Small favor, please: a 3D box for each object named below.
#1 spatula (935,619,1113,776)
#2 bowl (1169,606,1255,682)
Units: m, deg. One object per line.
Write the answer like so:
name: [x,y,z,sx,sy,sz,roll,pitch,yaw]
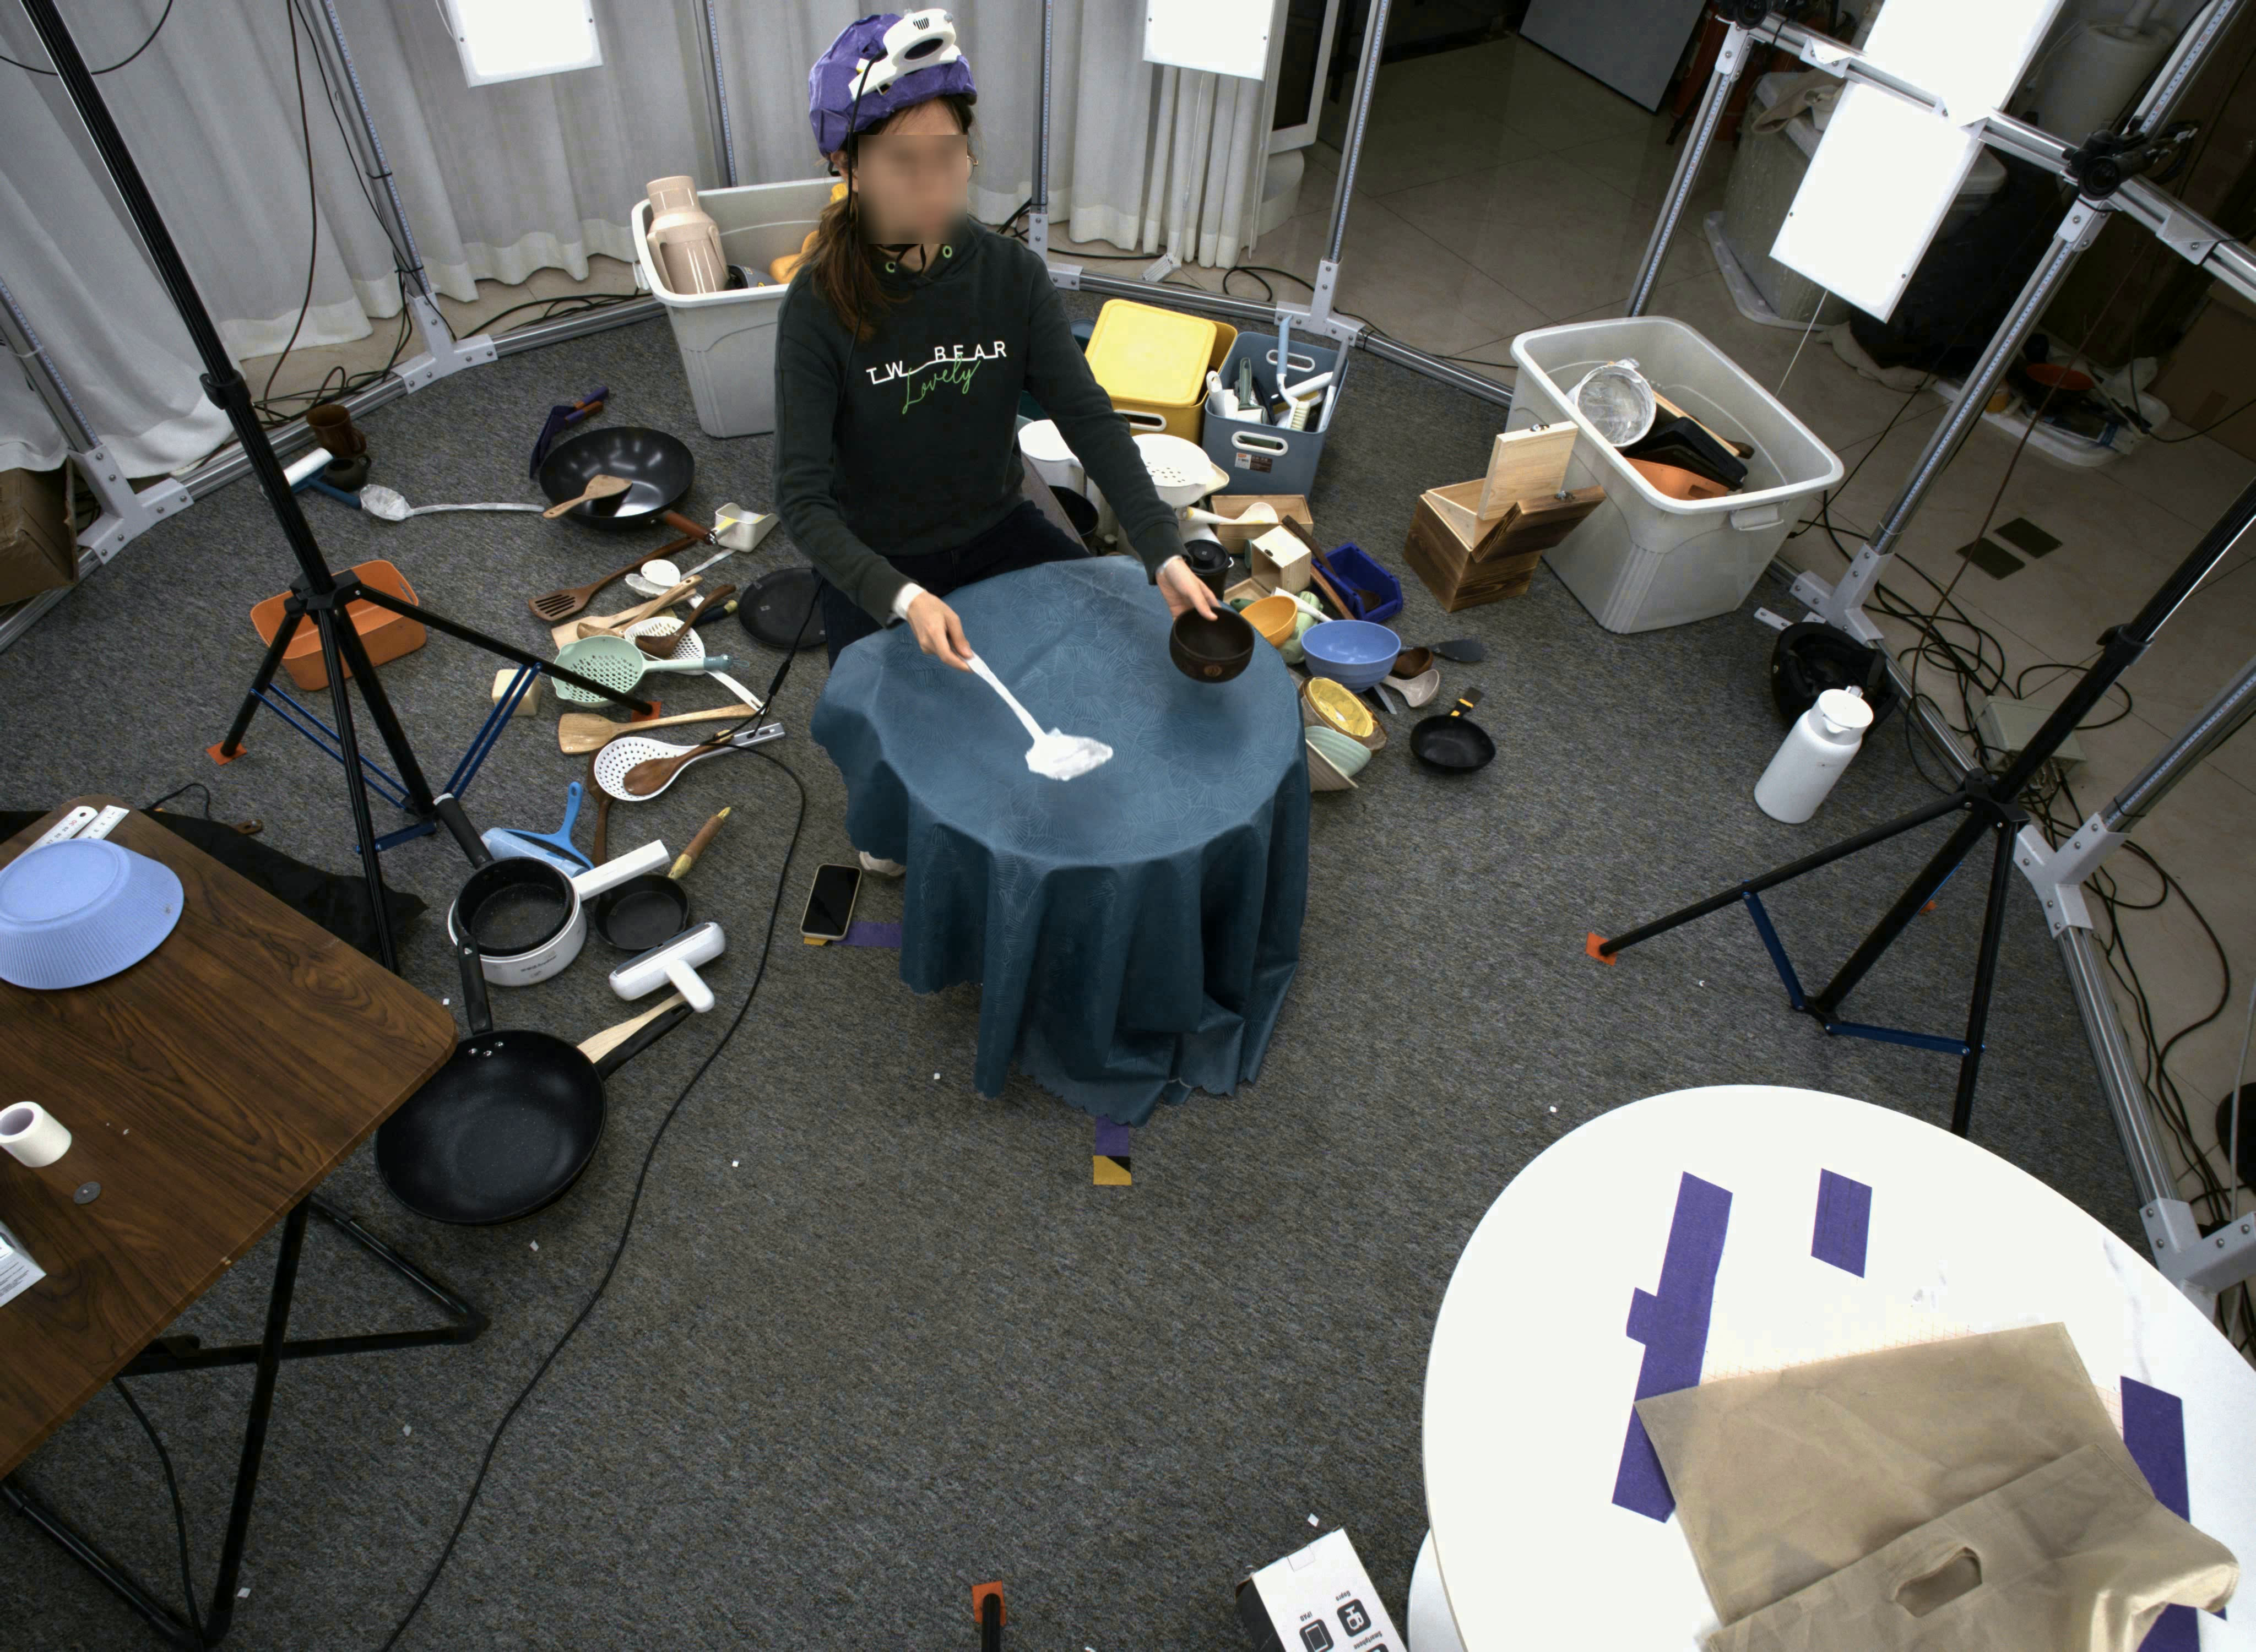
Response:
spatula: [-0.158,-0.179,1.681,0.099,0.044,0.371,-27,57,-26]
bowl: [0.114,-0.245,1.793,0.118,0.068,0.121,5,44,-5]
